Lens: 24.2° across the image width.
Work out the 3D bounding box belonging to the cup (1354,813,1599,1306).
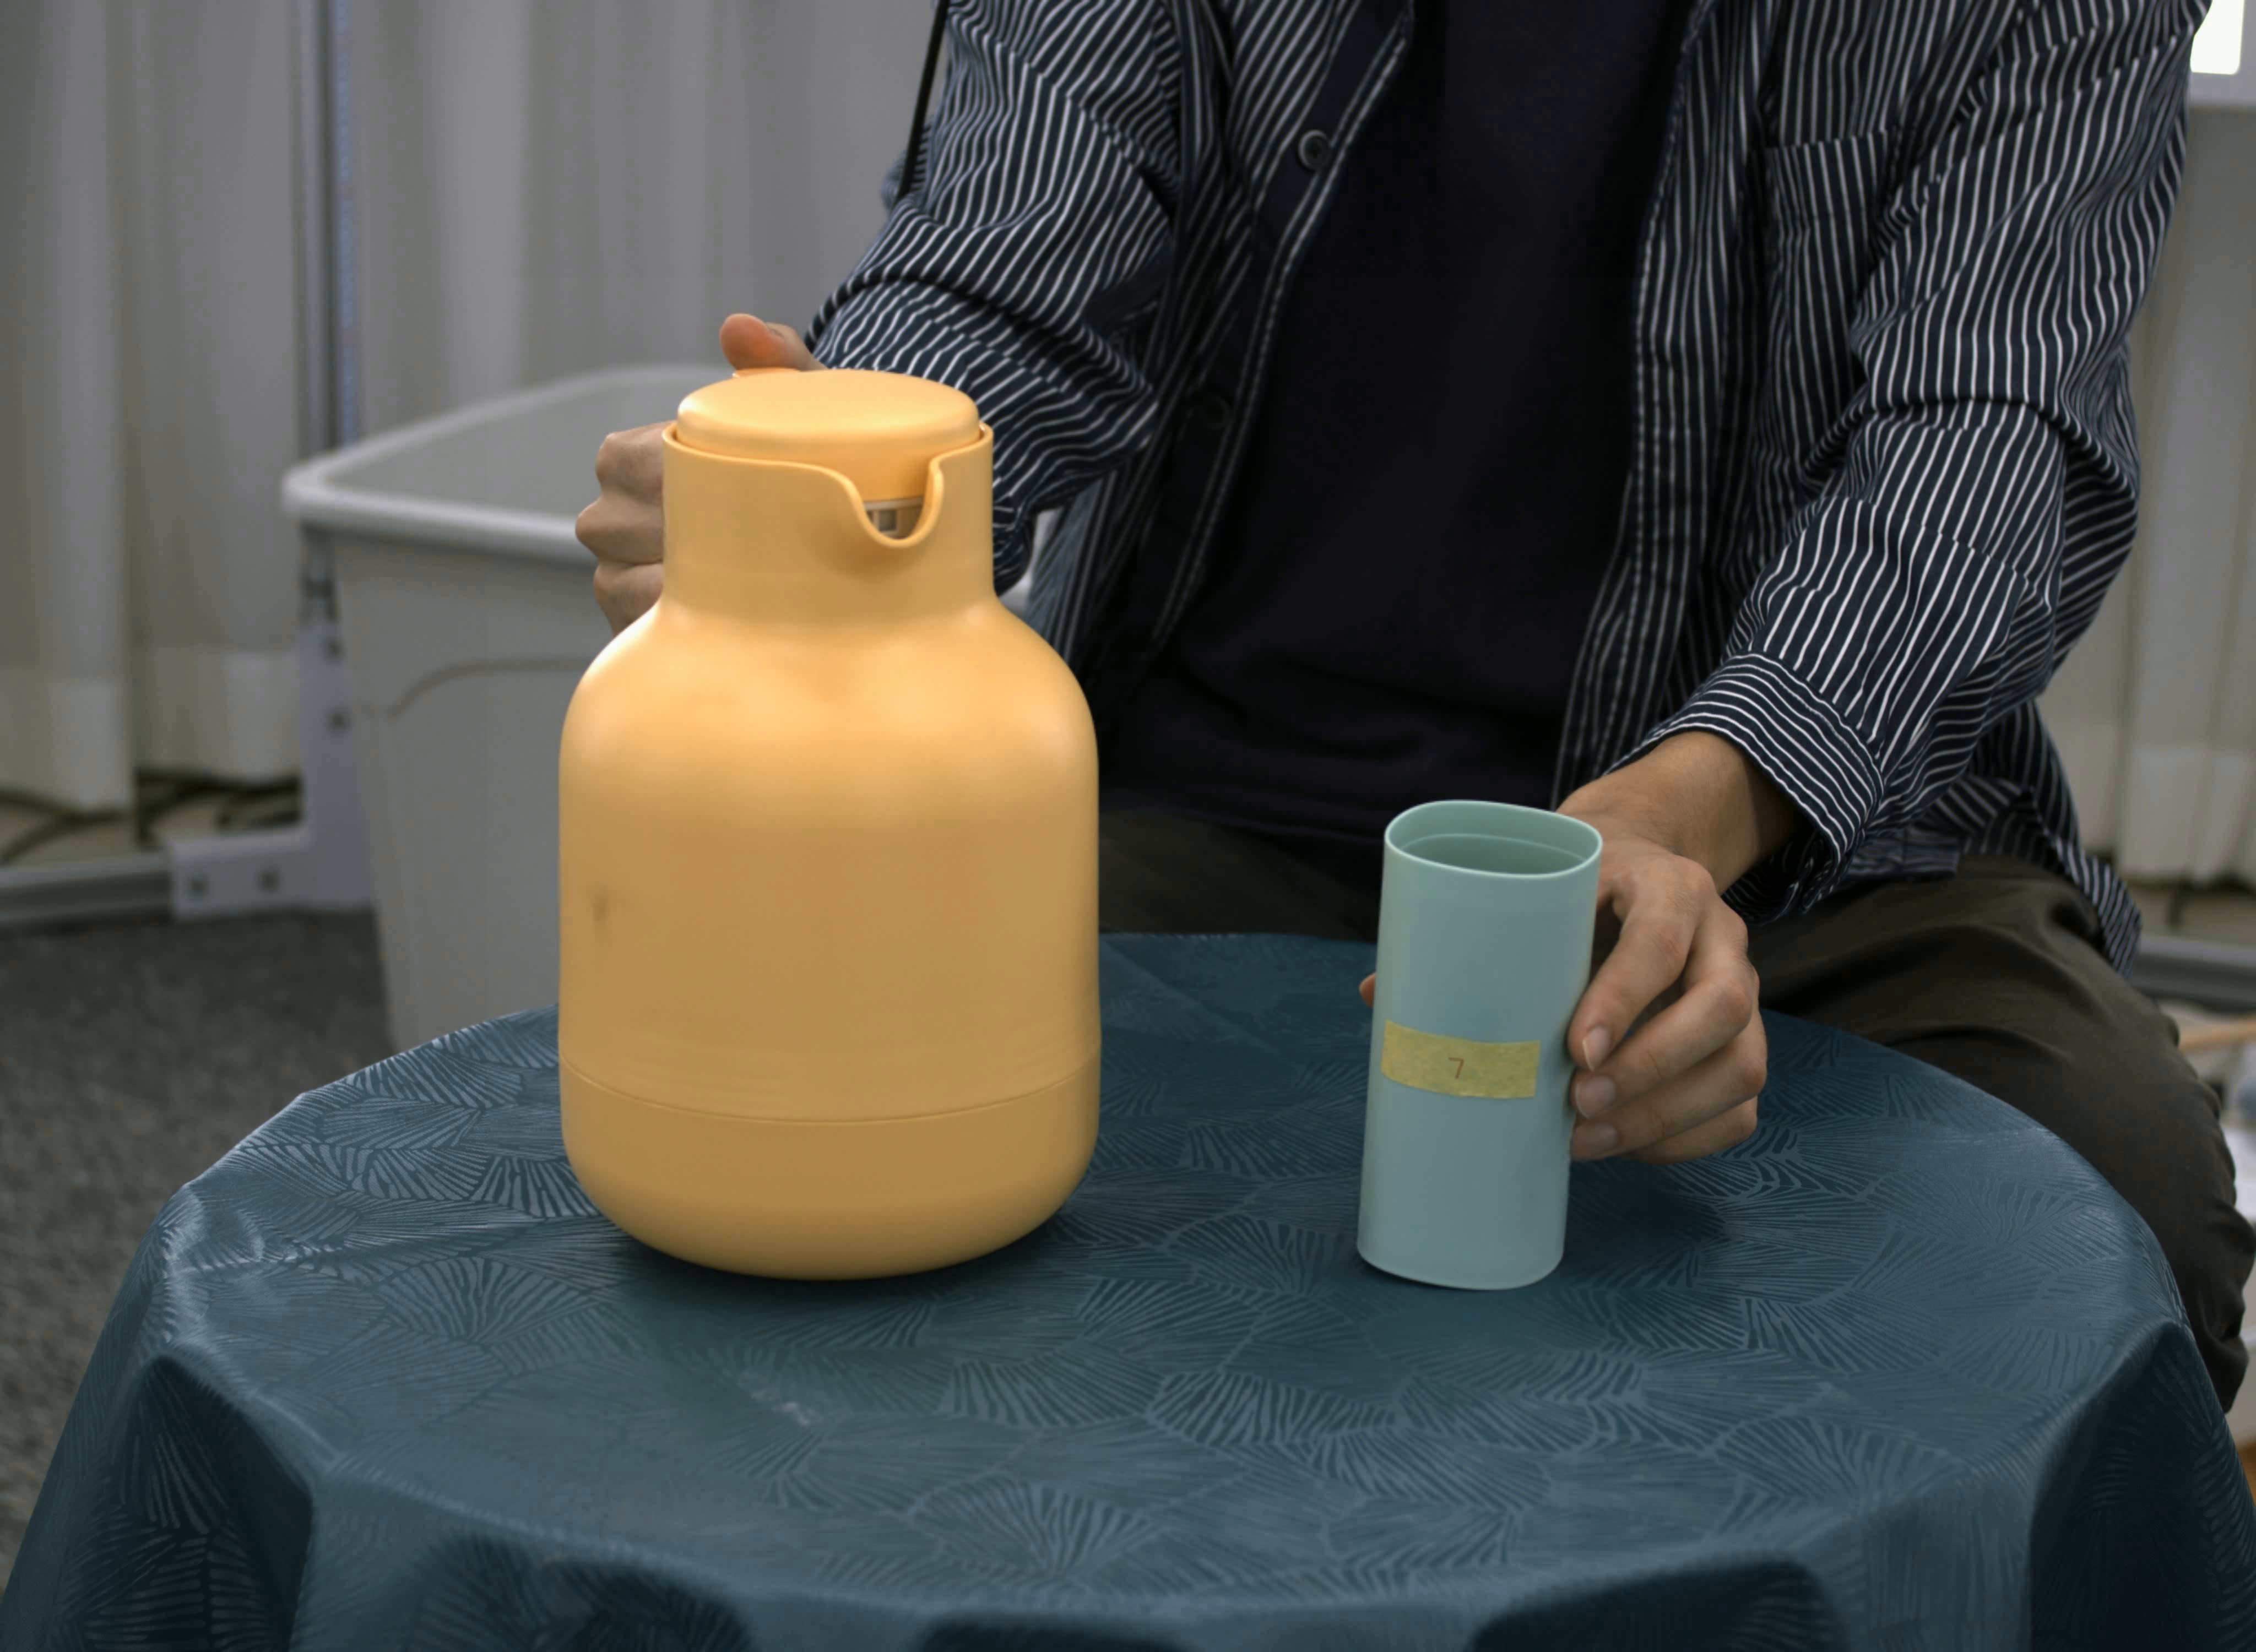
[{"bbox_3d":[0.102,0.068,1.553,0.066,0.133,0.066,3,19,0],"label":"cup"}]

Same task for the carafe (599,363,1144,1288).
[{"bbox_3d":[-0.082,-0.009,1.574,0.164,0.262,0.200,-5,16,-21],"label":"carafe"}]
